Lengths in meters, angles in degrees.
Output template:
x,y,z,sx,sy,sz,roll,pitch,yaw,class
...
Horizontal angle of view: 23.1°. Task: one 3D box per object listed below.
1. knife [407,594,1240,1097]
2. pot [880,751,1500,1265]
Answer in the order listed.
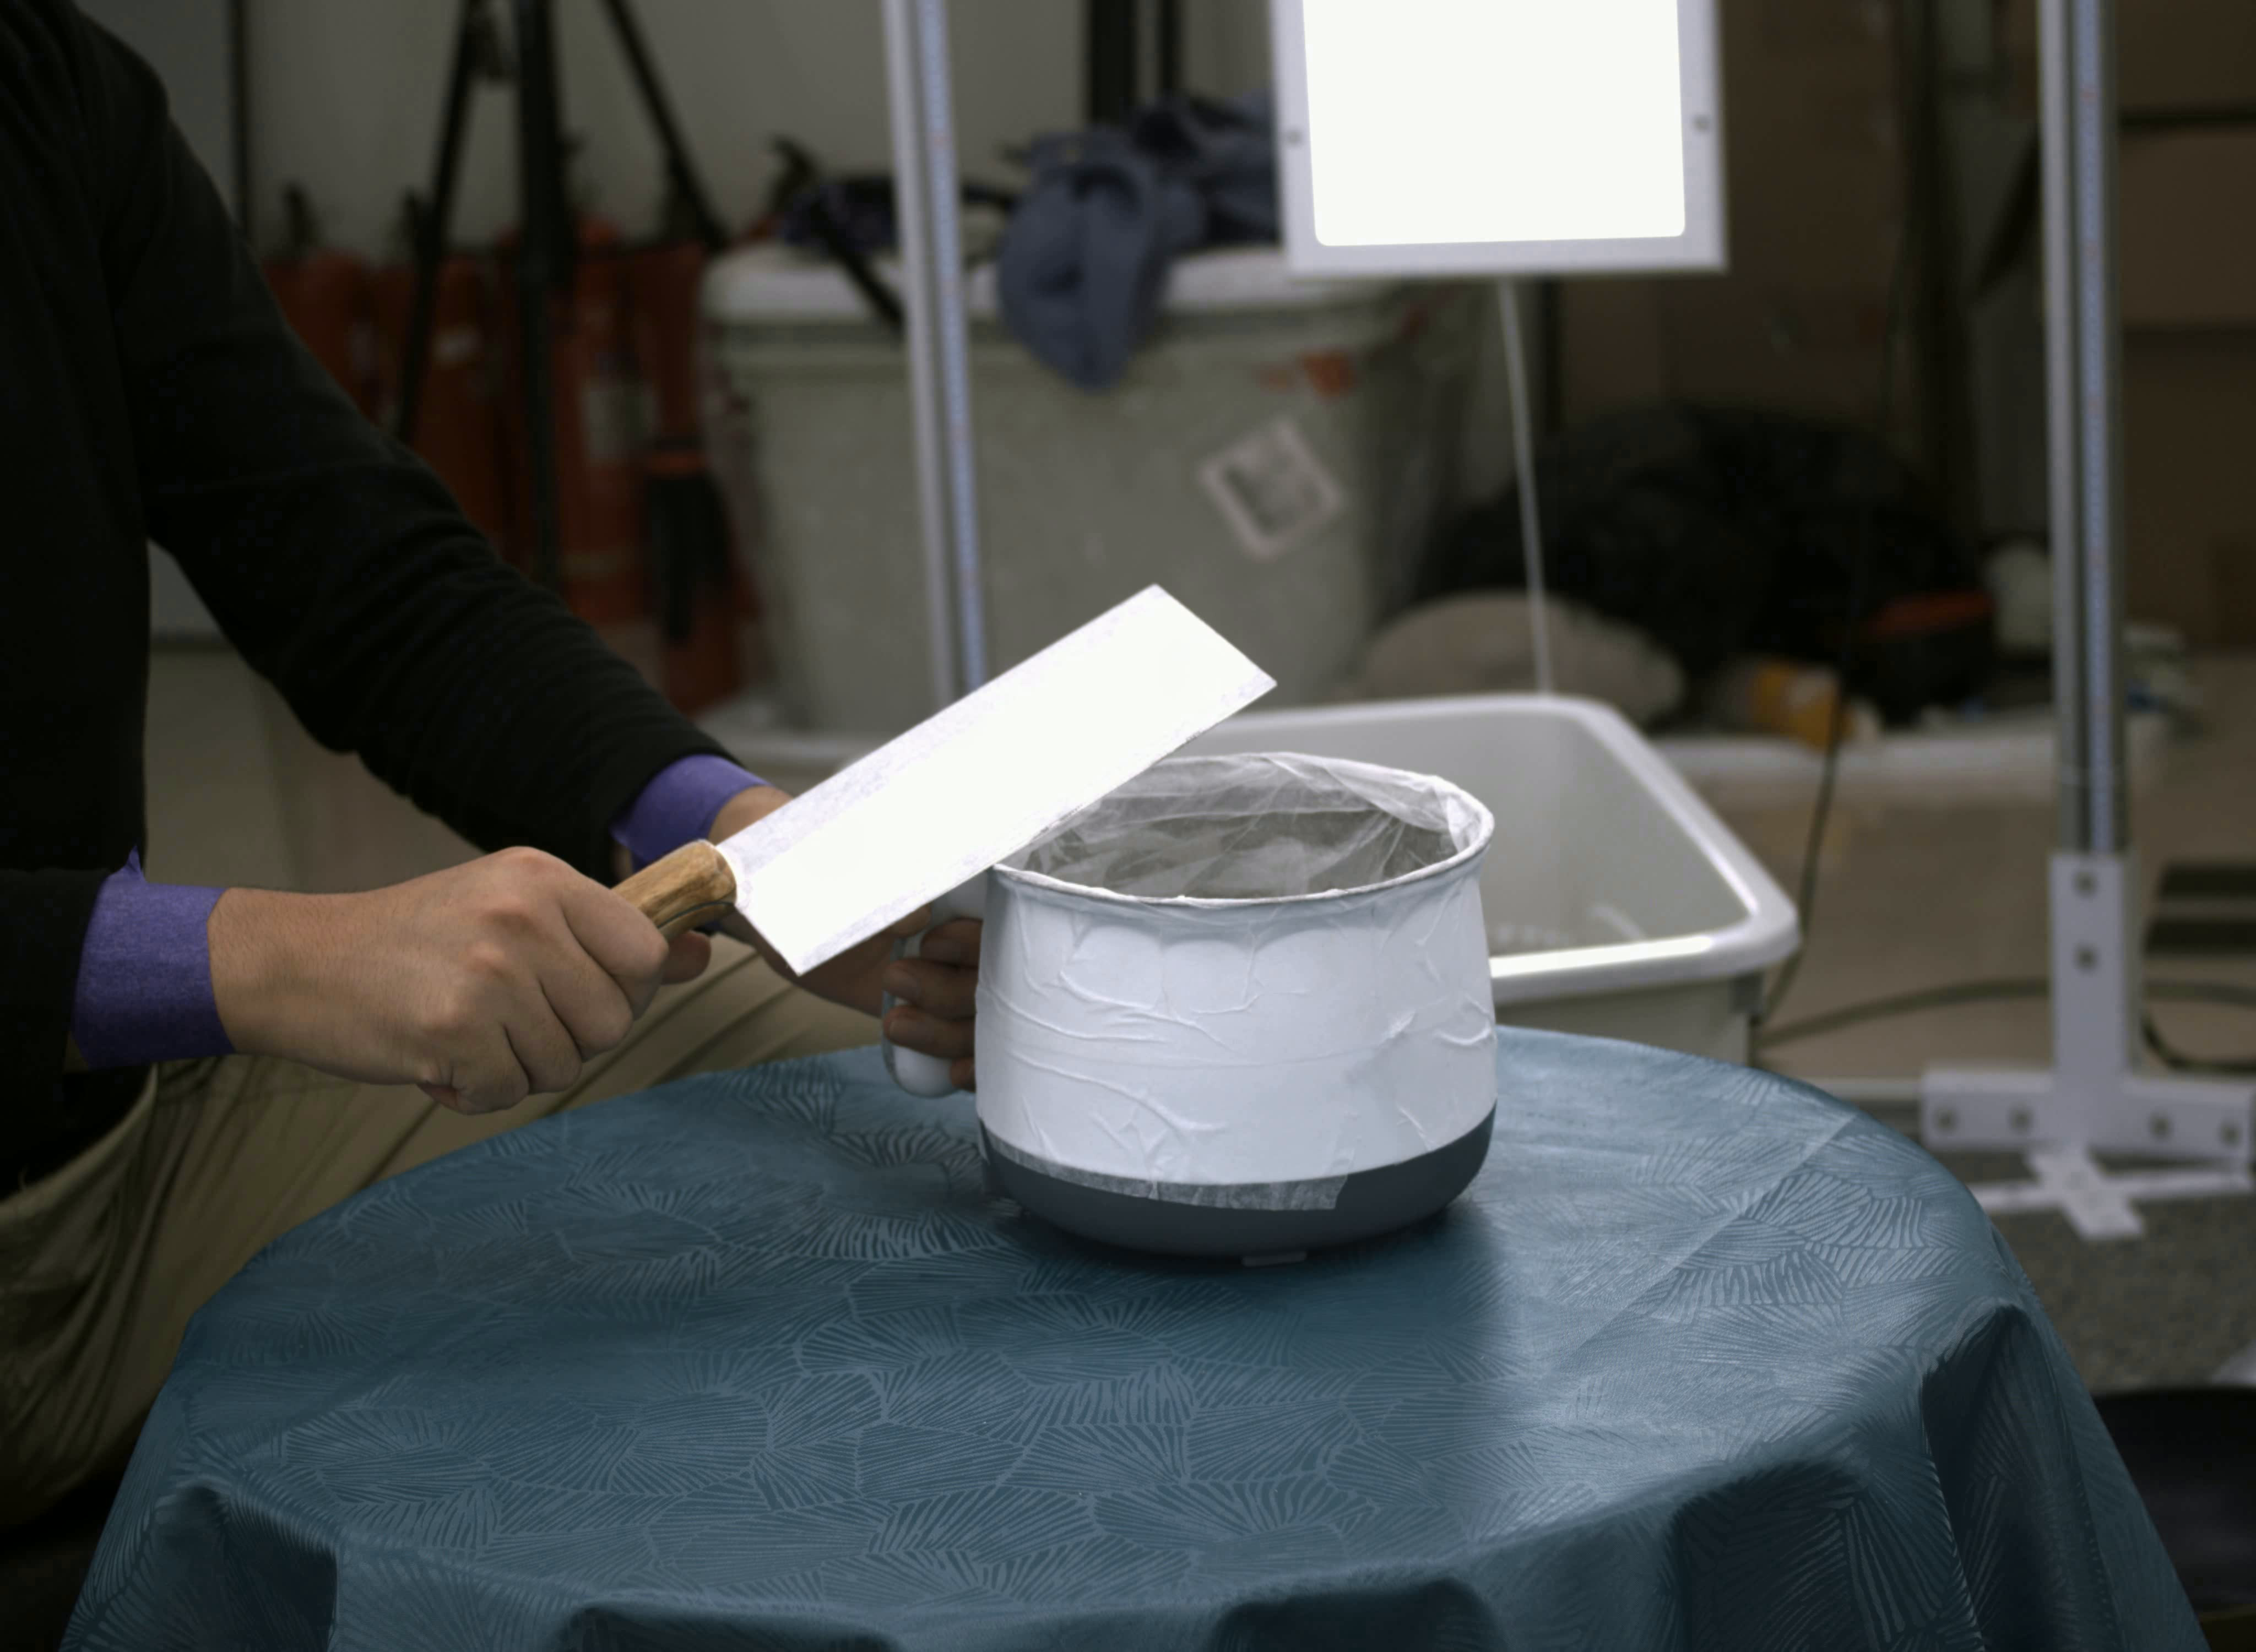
x,y,z,sx,sy,sz,roll,pitch,yaw,class
-0.097,0.012,1.839,0.303,0.021,0.094,-32,34,-10,knife
0.013,0.056,1.870,0.238,0.137,0.174,10,19,34,pot
